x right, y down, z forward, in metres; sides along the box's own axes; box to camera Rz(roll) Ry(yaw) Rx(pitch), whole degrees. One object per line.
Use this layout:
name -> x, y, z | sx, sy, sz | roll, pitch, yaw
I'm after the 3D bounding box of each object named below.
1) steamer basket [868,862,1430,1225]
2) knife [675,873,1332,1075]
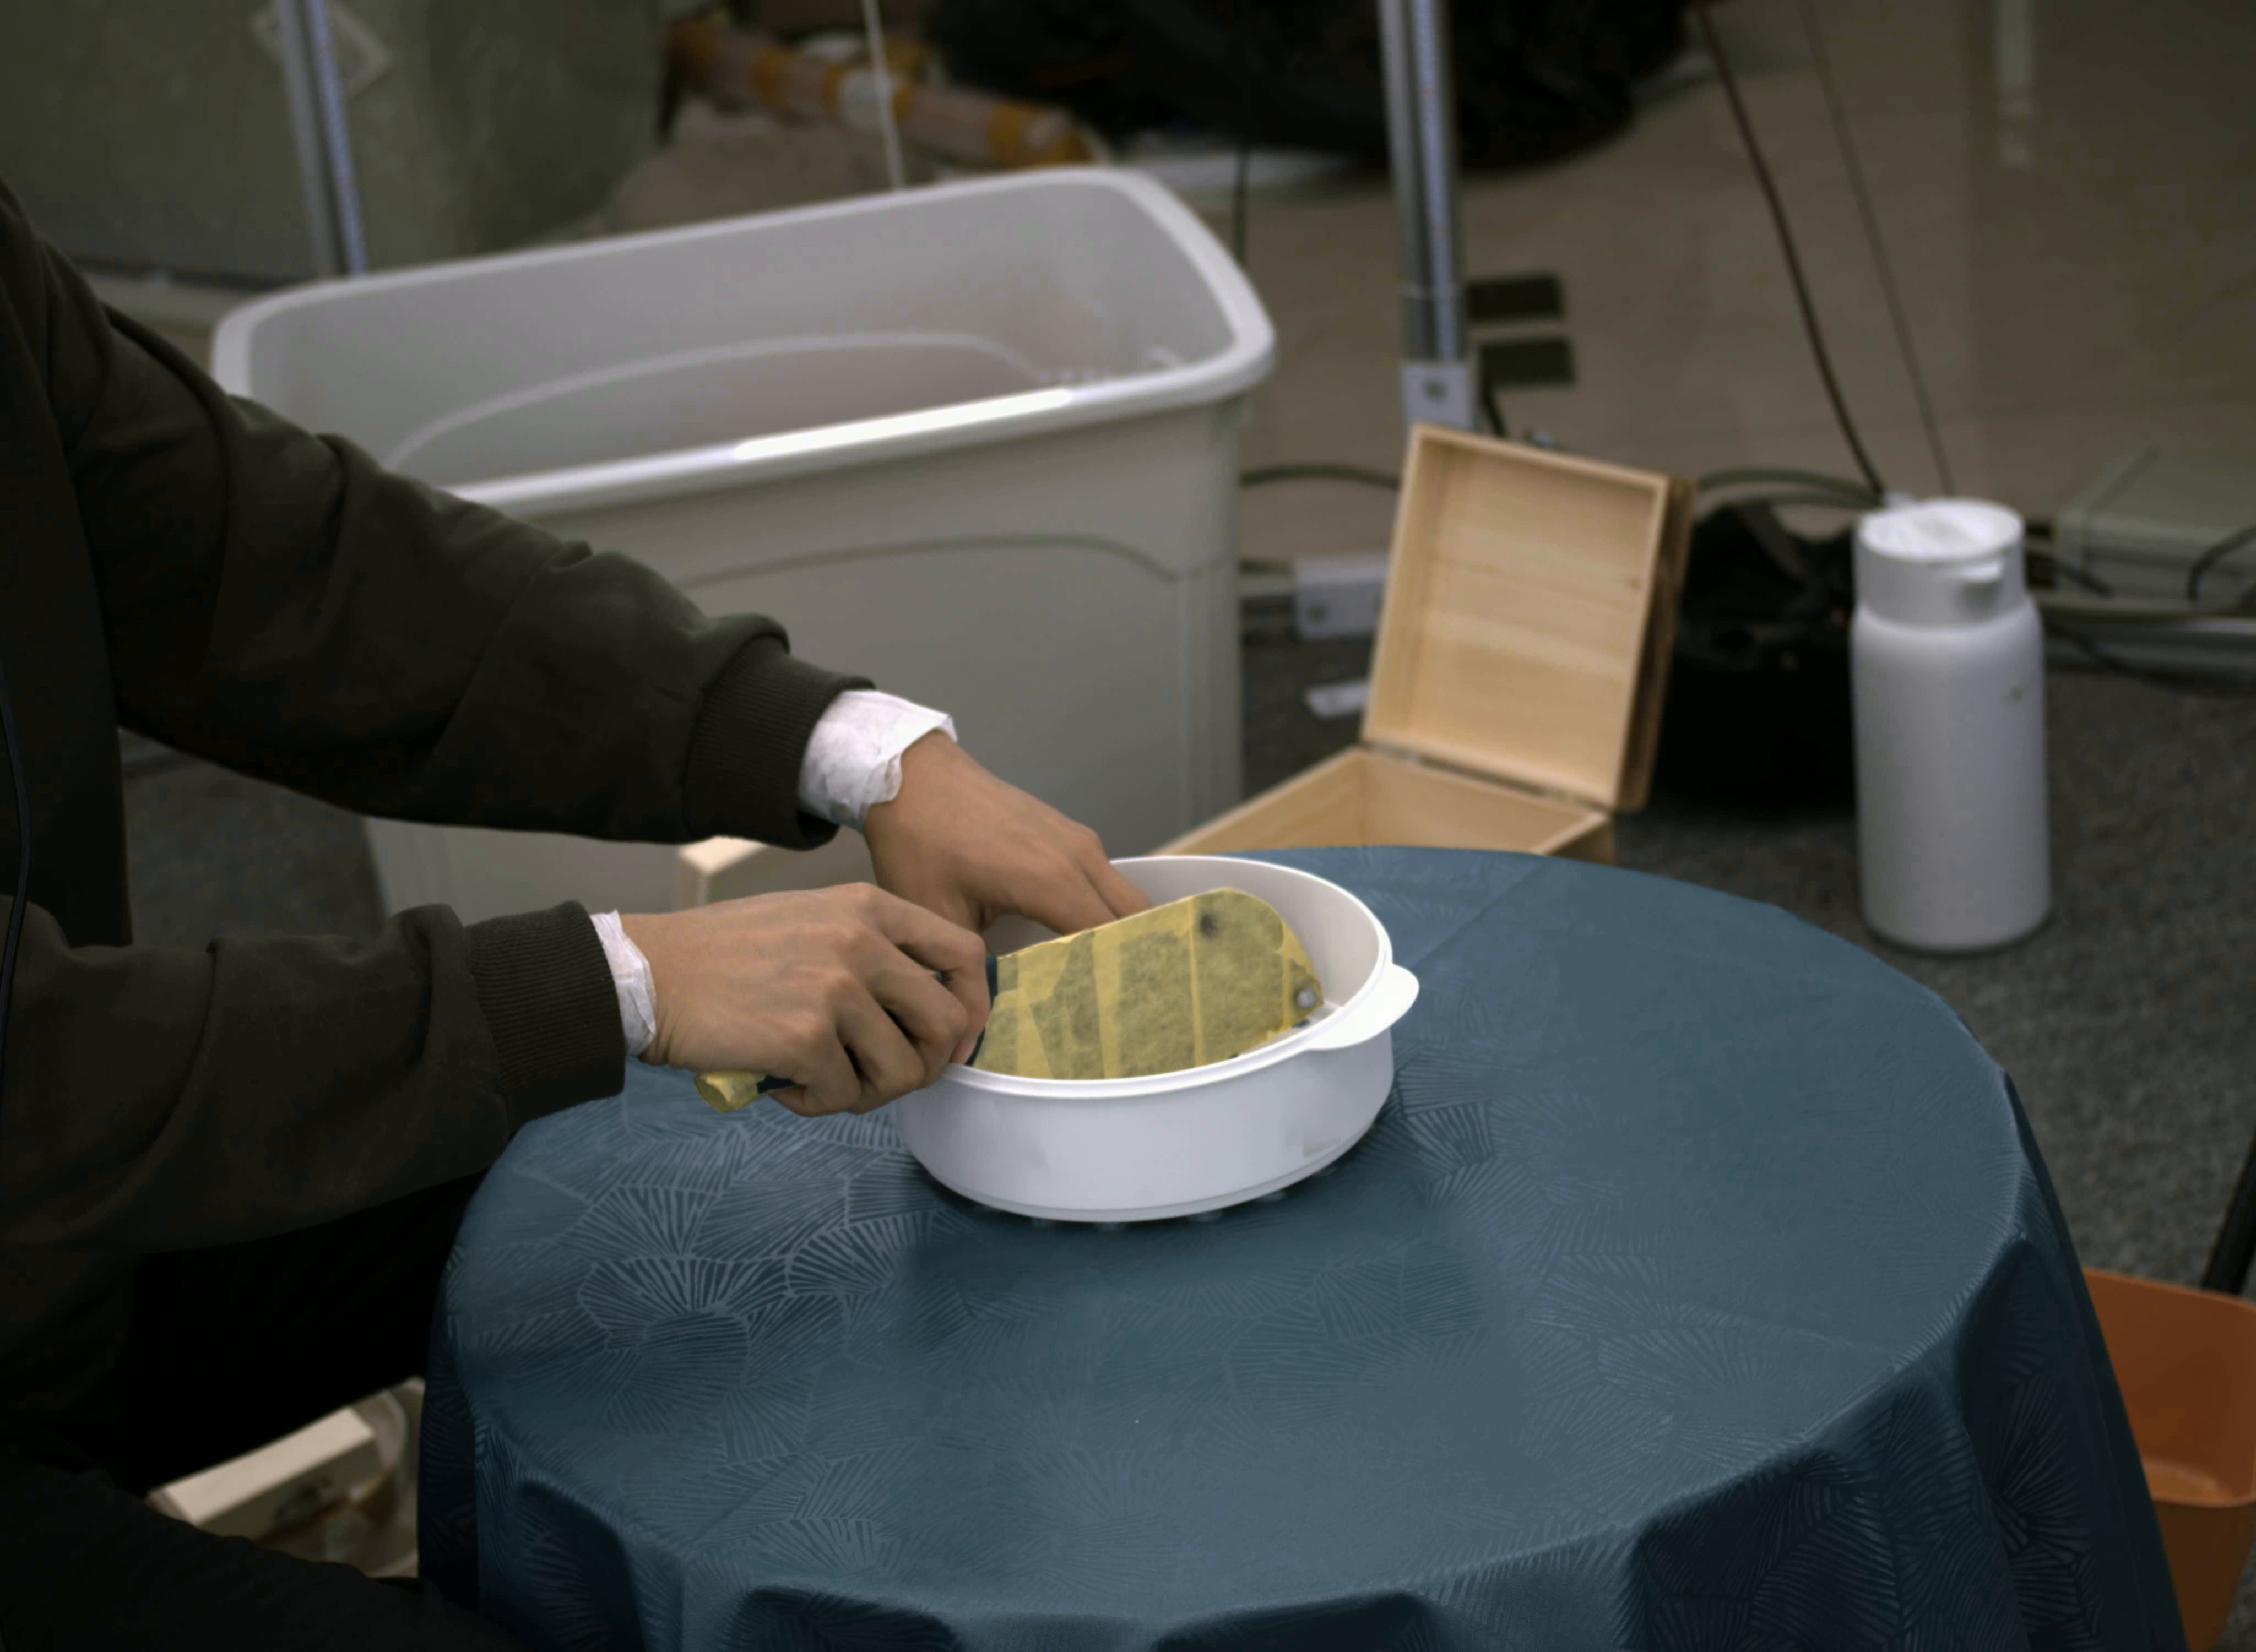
steamer basket -> 0.009, 0.084, 2.187 | 0.230, 0.070, 0.199 | 6, 27, 29
knife -> -0.042, 0.069, 2.155 | 0.288, 0.082, 0.027 | -8, 16, -31
